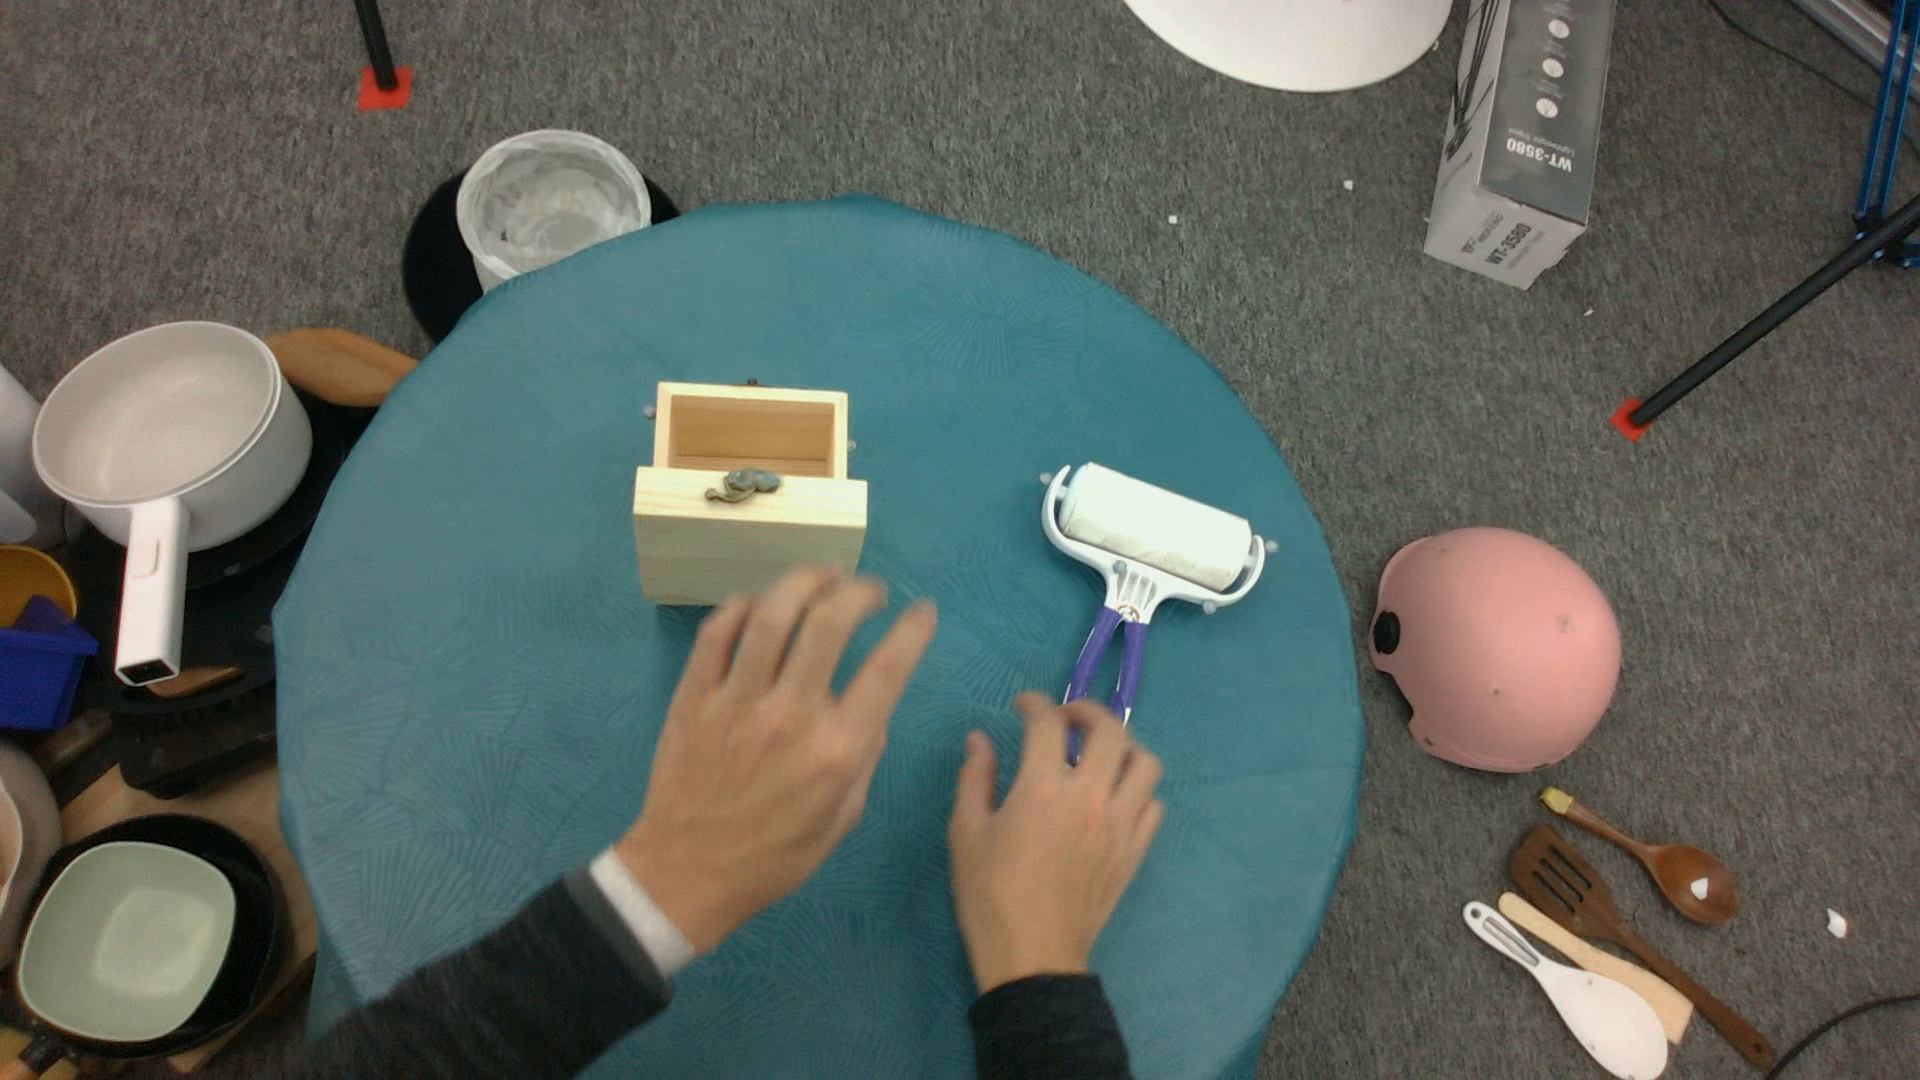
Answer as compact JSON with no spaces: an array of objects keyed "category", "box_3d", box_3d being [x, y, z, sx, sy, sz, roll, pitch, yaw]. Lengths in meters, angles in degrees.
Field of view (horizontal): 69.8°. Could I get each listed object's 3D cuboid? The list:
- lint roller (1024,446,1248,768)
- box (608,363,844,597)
[{"category":"lint roller","box_3d":[0.082,0.039,0.778,0.133,0.050,0.181,22,65,-2]},{"category":"box","box_3d":[-0.116,-0.039,0.699,0.102,0.184,0.134,1,69,-9]}]
